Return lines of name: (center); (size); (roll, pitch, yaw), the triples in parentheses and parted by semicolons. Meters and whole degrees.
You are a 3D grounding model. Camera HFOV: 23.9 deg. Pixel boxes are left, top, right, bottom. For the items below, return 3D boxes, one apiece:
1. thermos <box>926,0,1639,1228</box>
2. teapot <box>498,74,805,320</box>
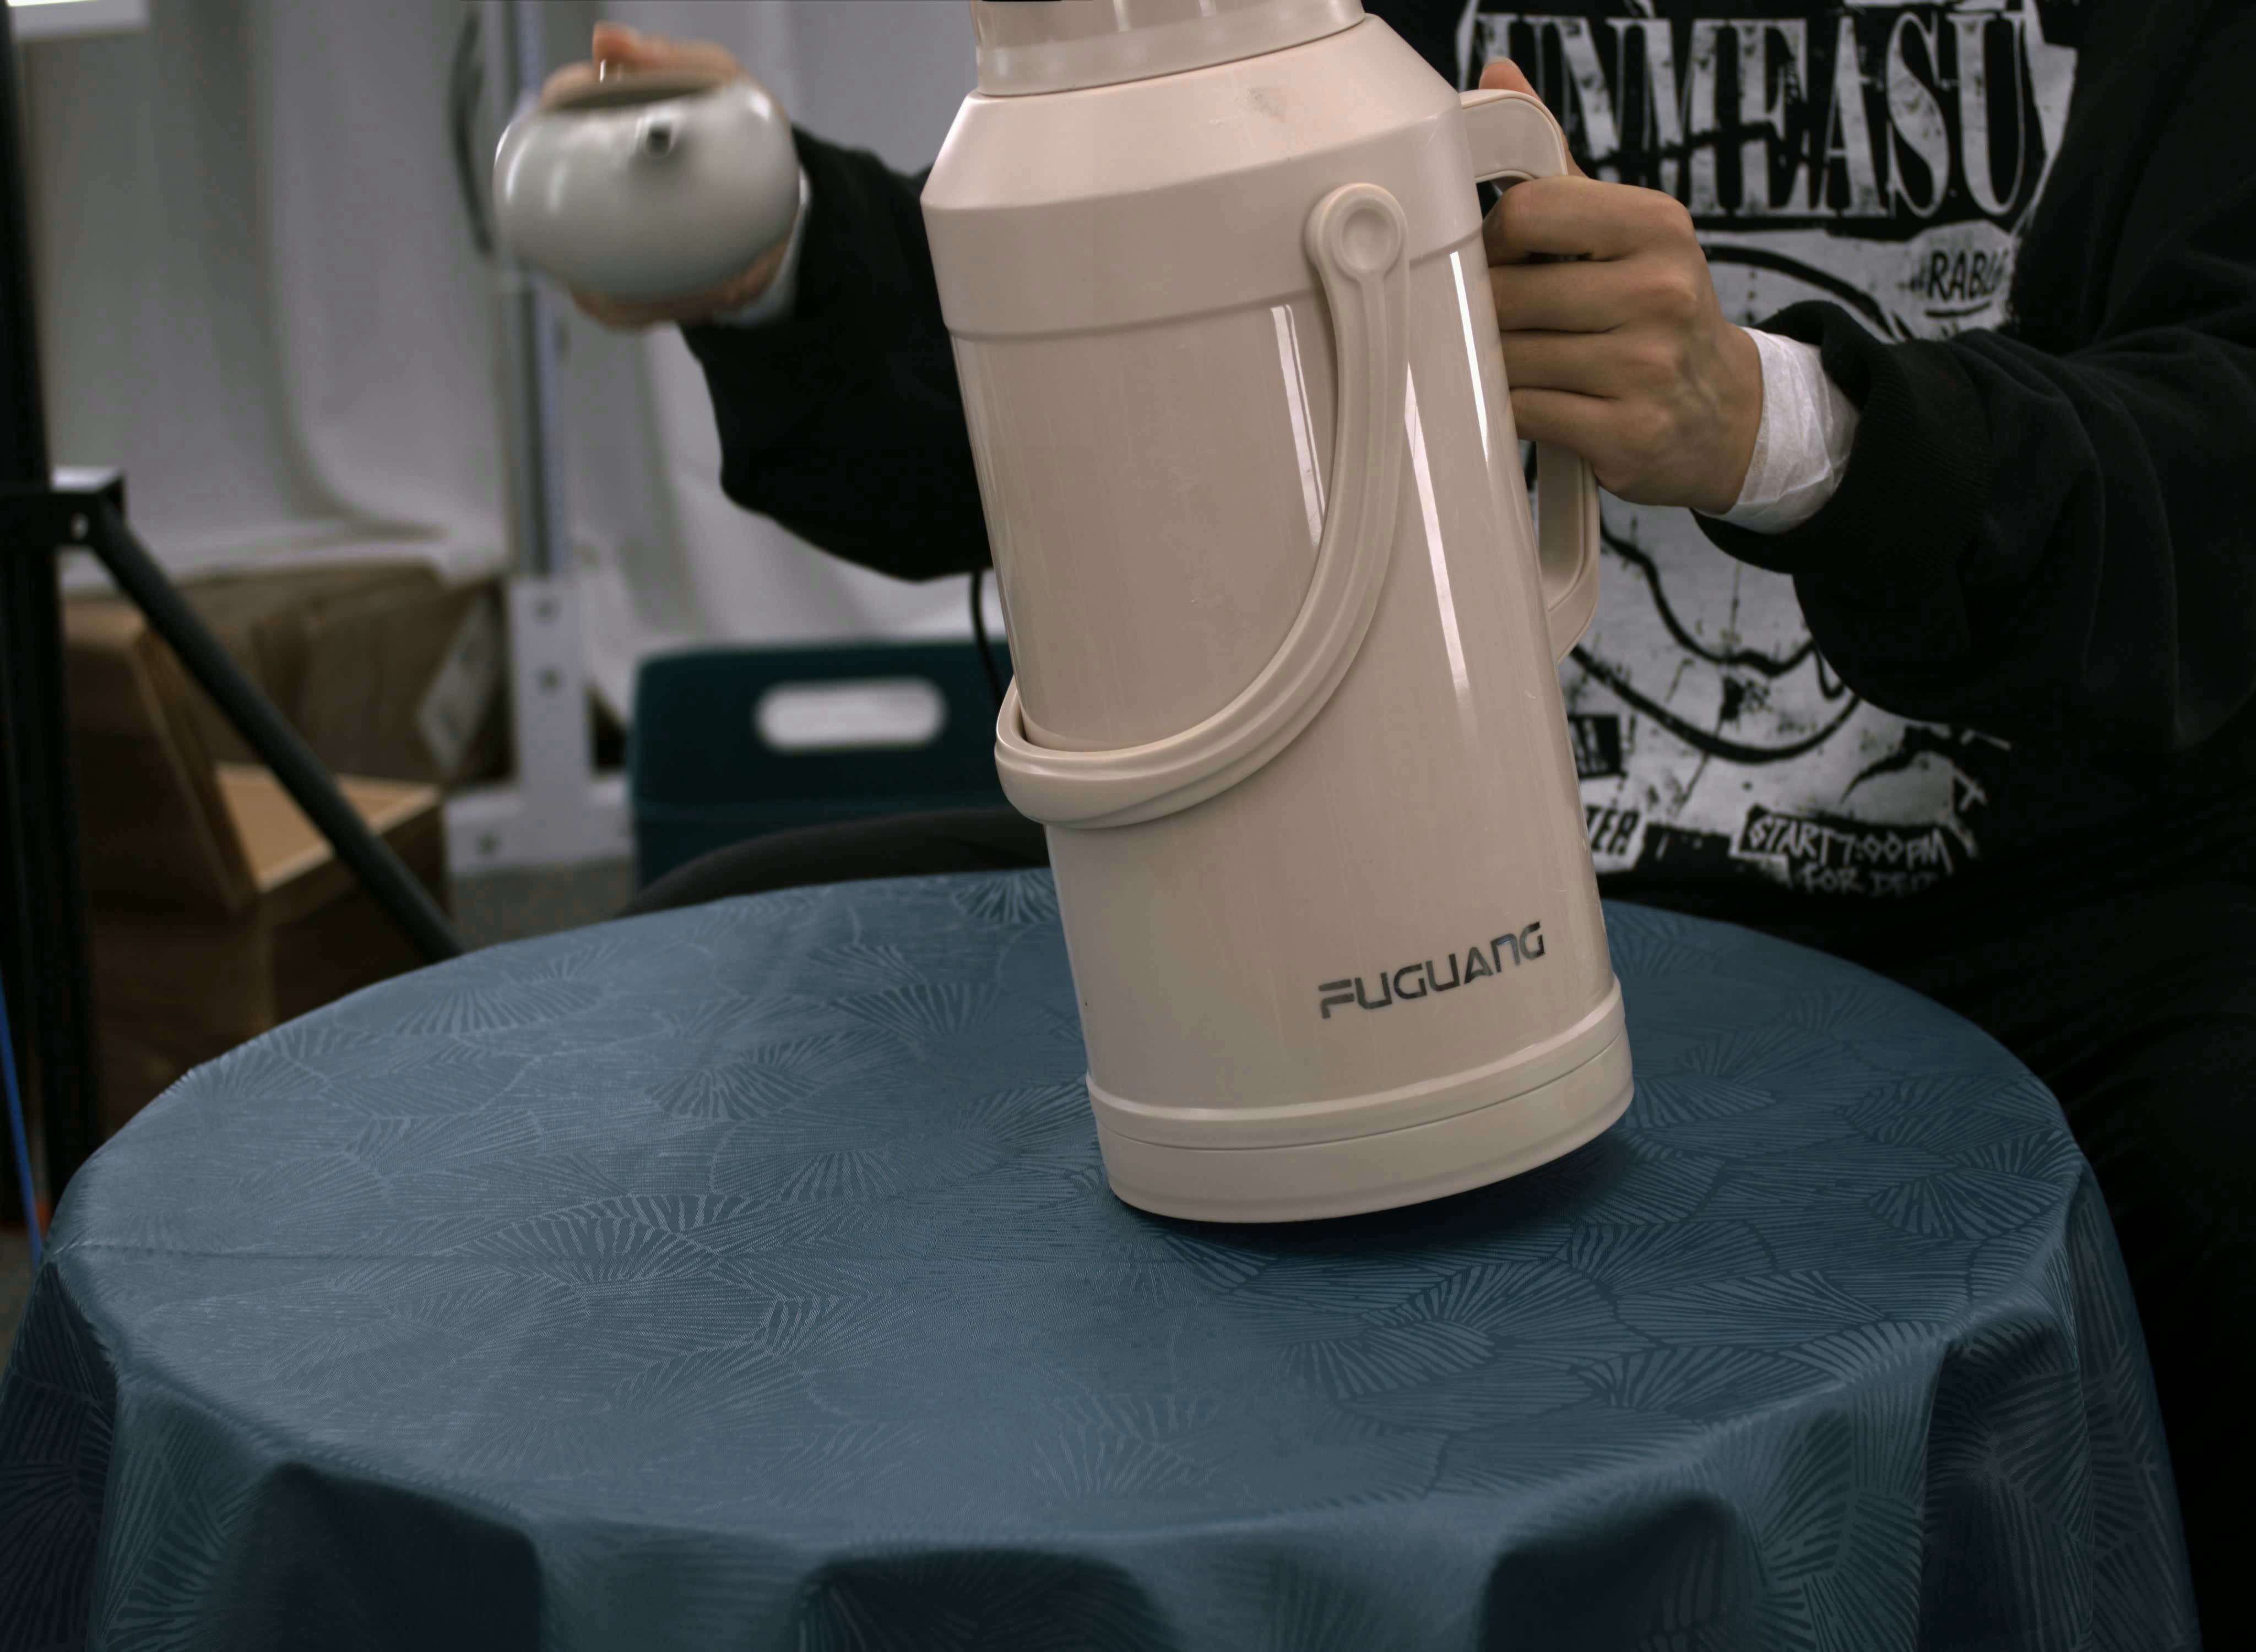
thermos: (0.050, -0.103, 1.526); (0.203, 0.406, 0.179); (-17, 12, -26)
teapot: (-0.144, -0.189, 1.603); (0.091, 0.059, 0.130); (-14, 21, -9)
